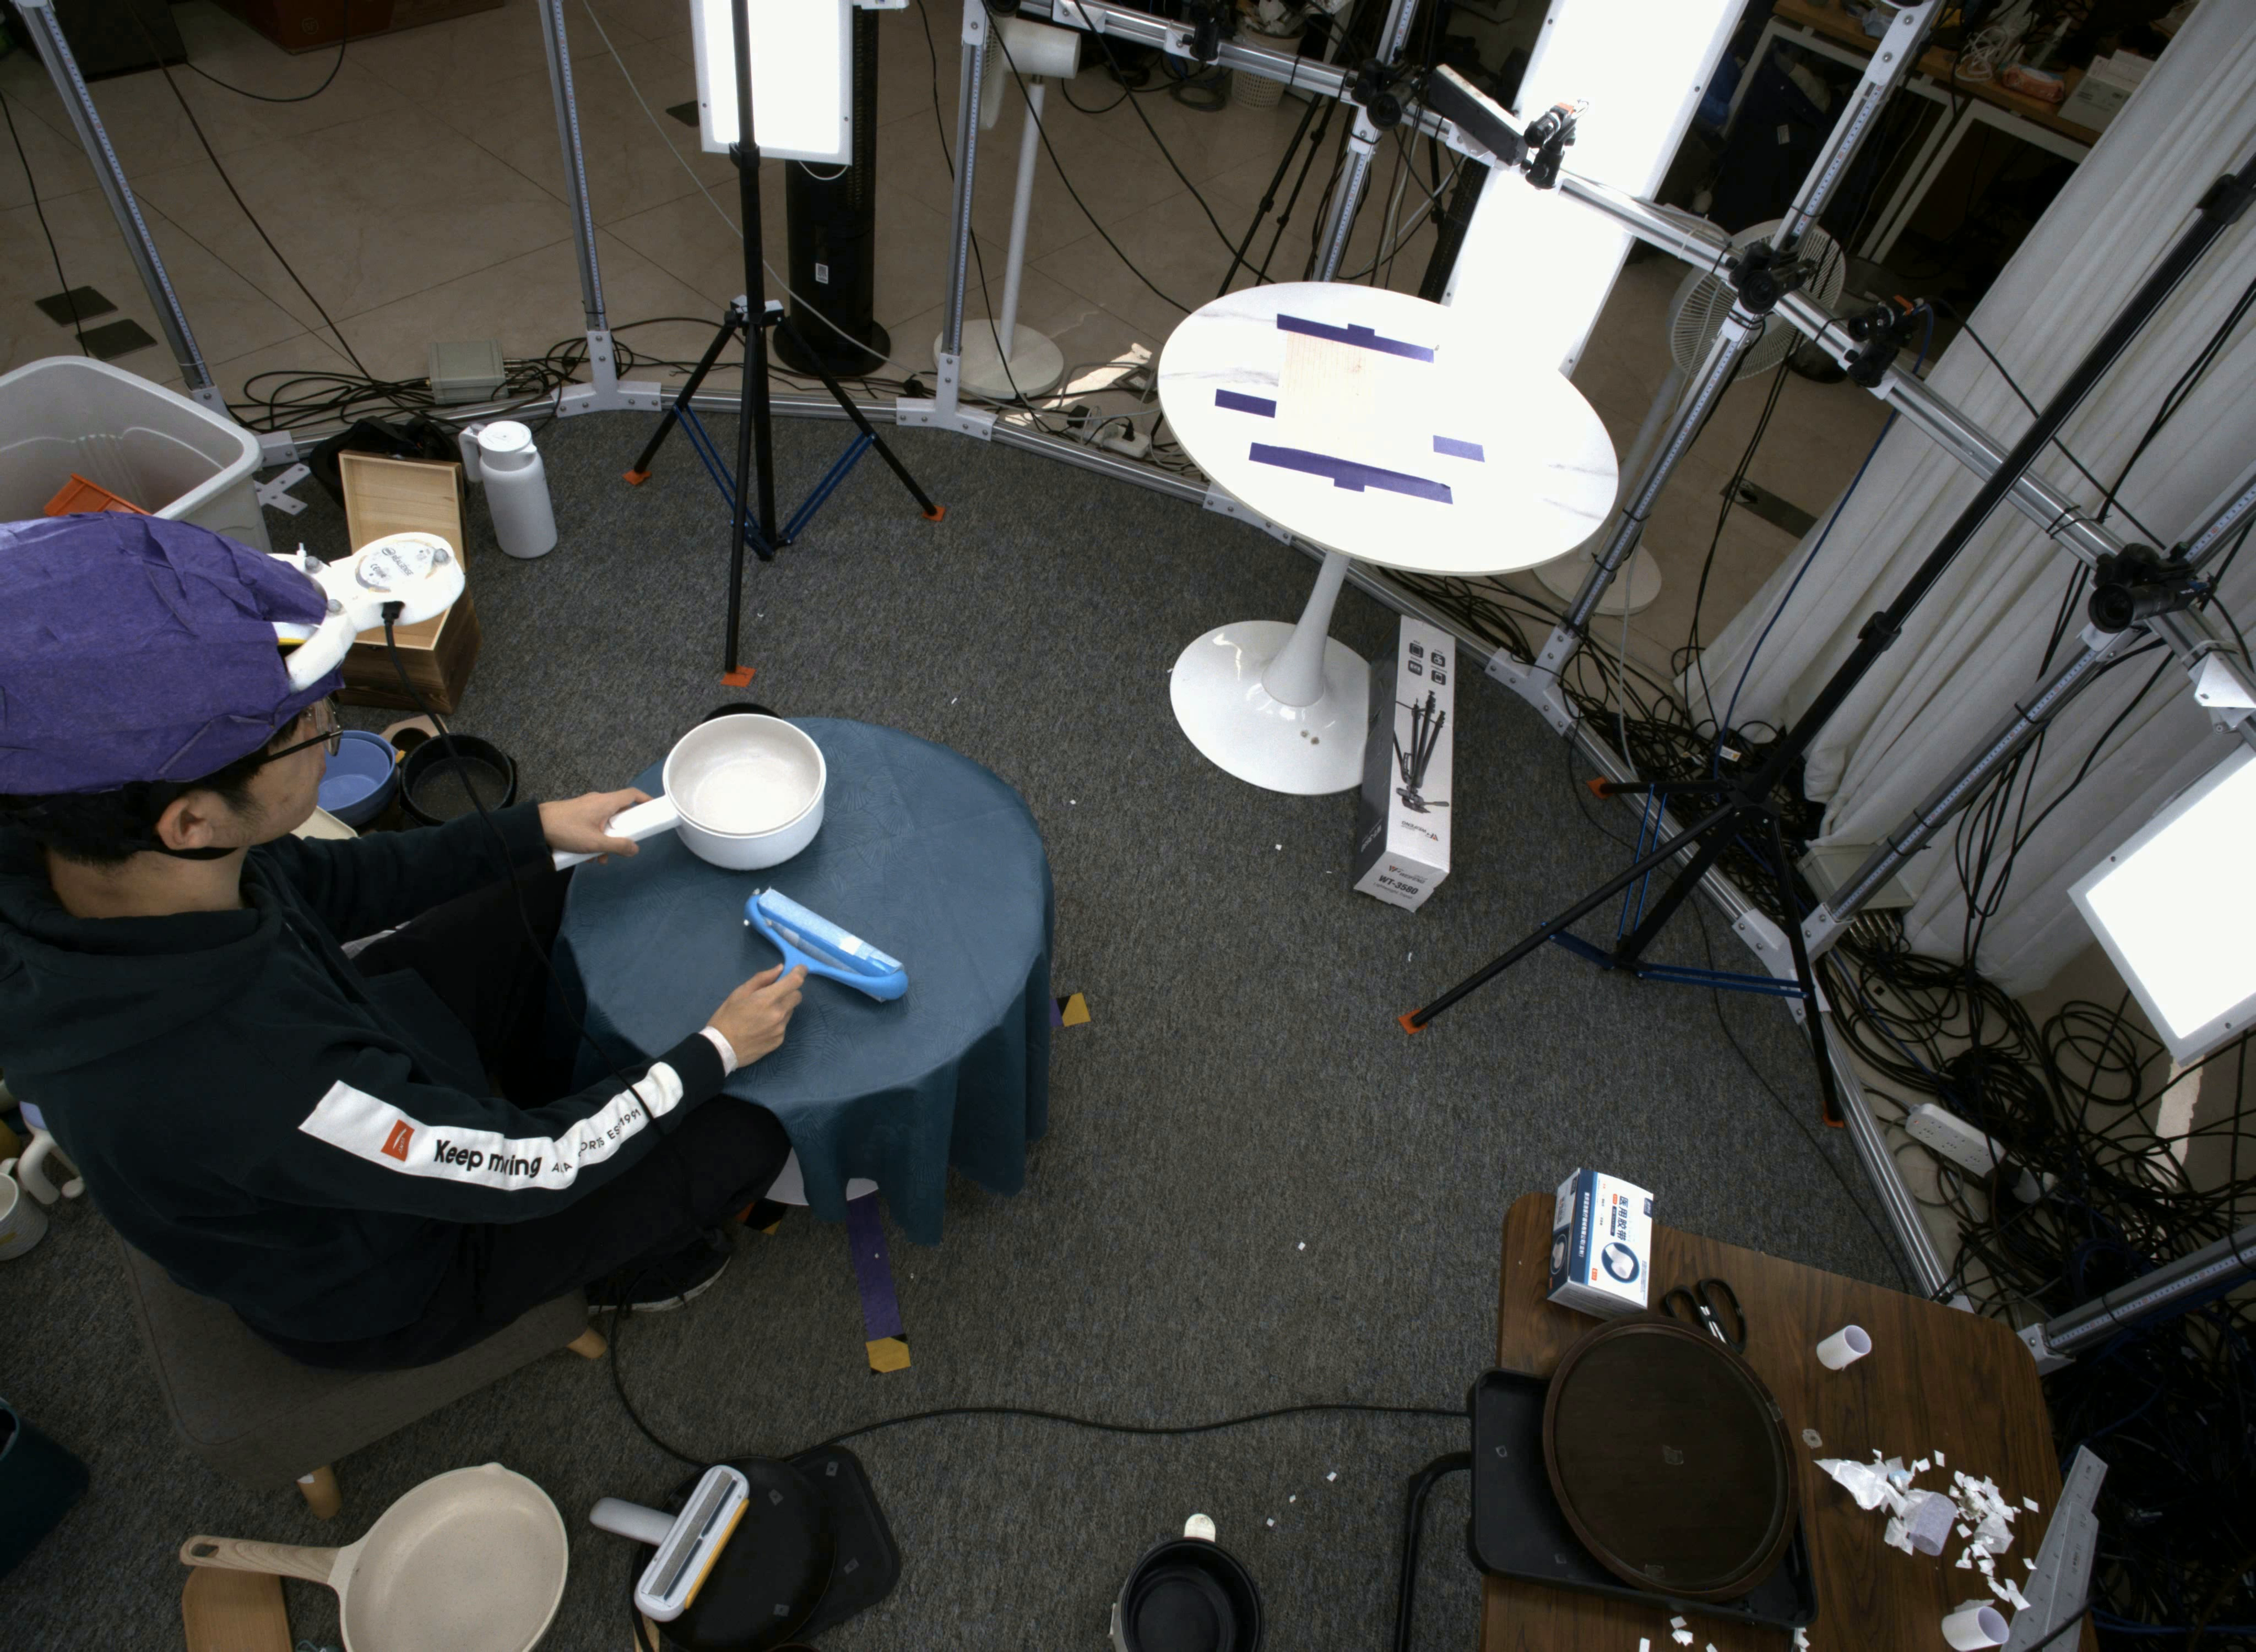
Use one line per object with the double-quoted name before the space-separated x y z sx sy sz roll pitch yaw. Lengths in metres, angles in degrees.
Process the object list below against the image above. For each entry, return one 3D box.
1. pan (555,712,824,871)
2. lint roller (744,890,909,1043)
"pan" -0.557 -0.012 1.639 0.356 0.104 0.196 -25 64 -27
"lint roller" -0.395 0.179 1.562 0.226 0.069 0.179 27 45 4
